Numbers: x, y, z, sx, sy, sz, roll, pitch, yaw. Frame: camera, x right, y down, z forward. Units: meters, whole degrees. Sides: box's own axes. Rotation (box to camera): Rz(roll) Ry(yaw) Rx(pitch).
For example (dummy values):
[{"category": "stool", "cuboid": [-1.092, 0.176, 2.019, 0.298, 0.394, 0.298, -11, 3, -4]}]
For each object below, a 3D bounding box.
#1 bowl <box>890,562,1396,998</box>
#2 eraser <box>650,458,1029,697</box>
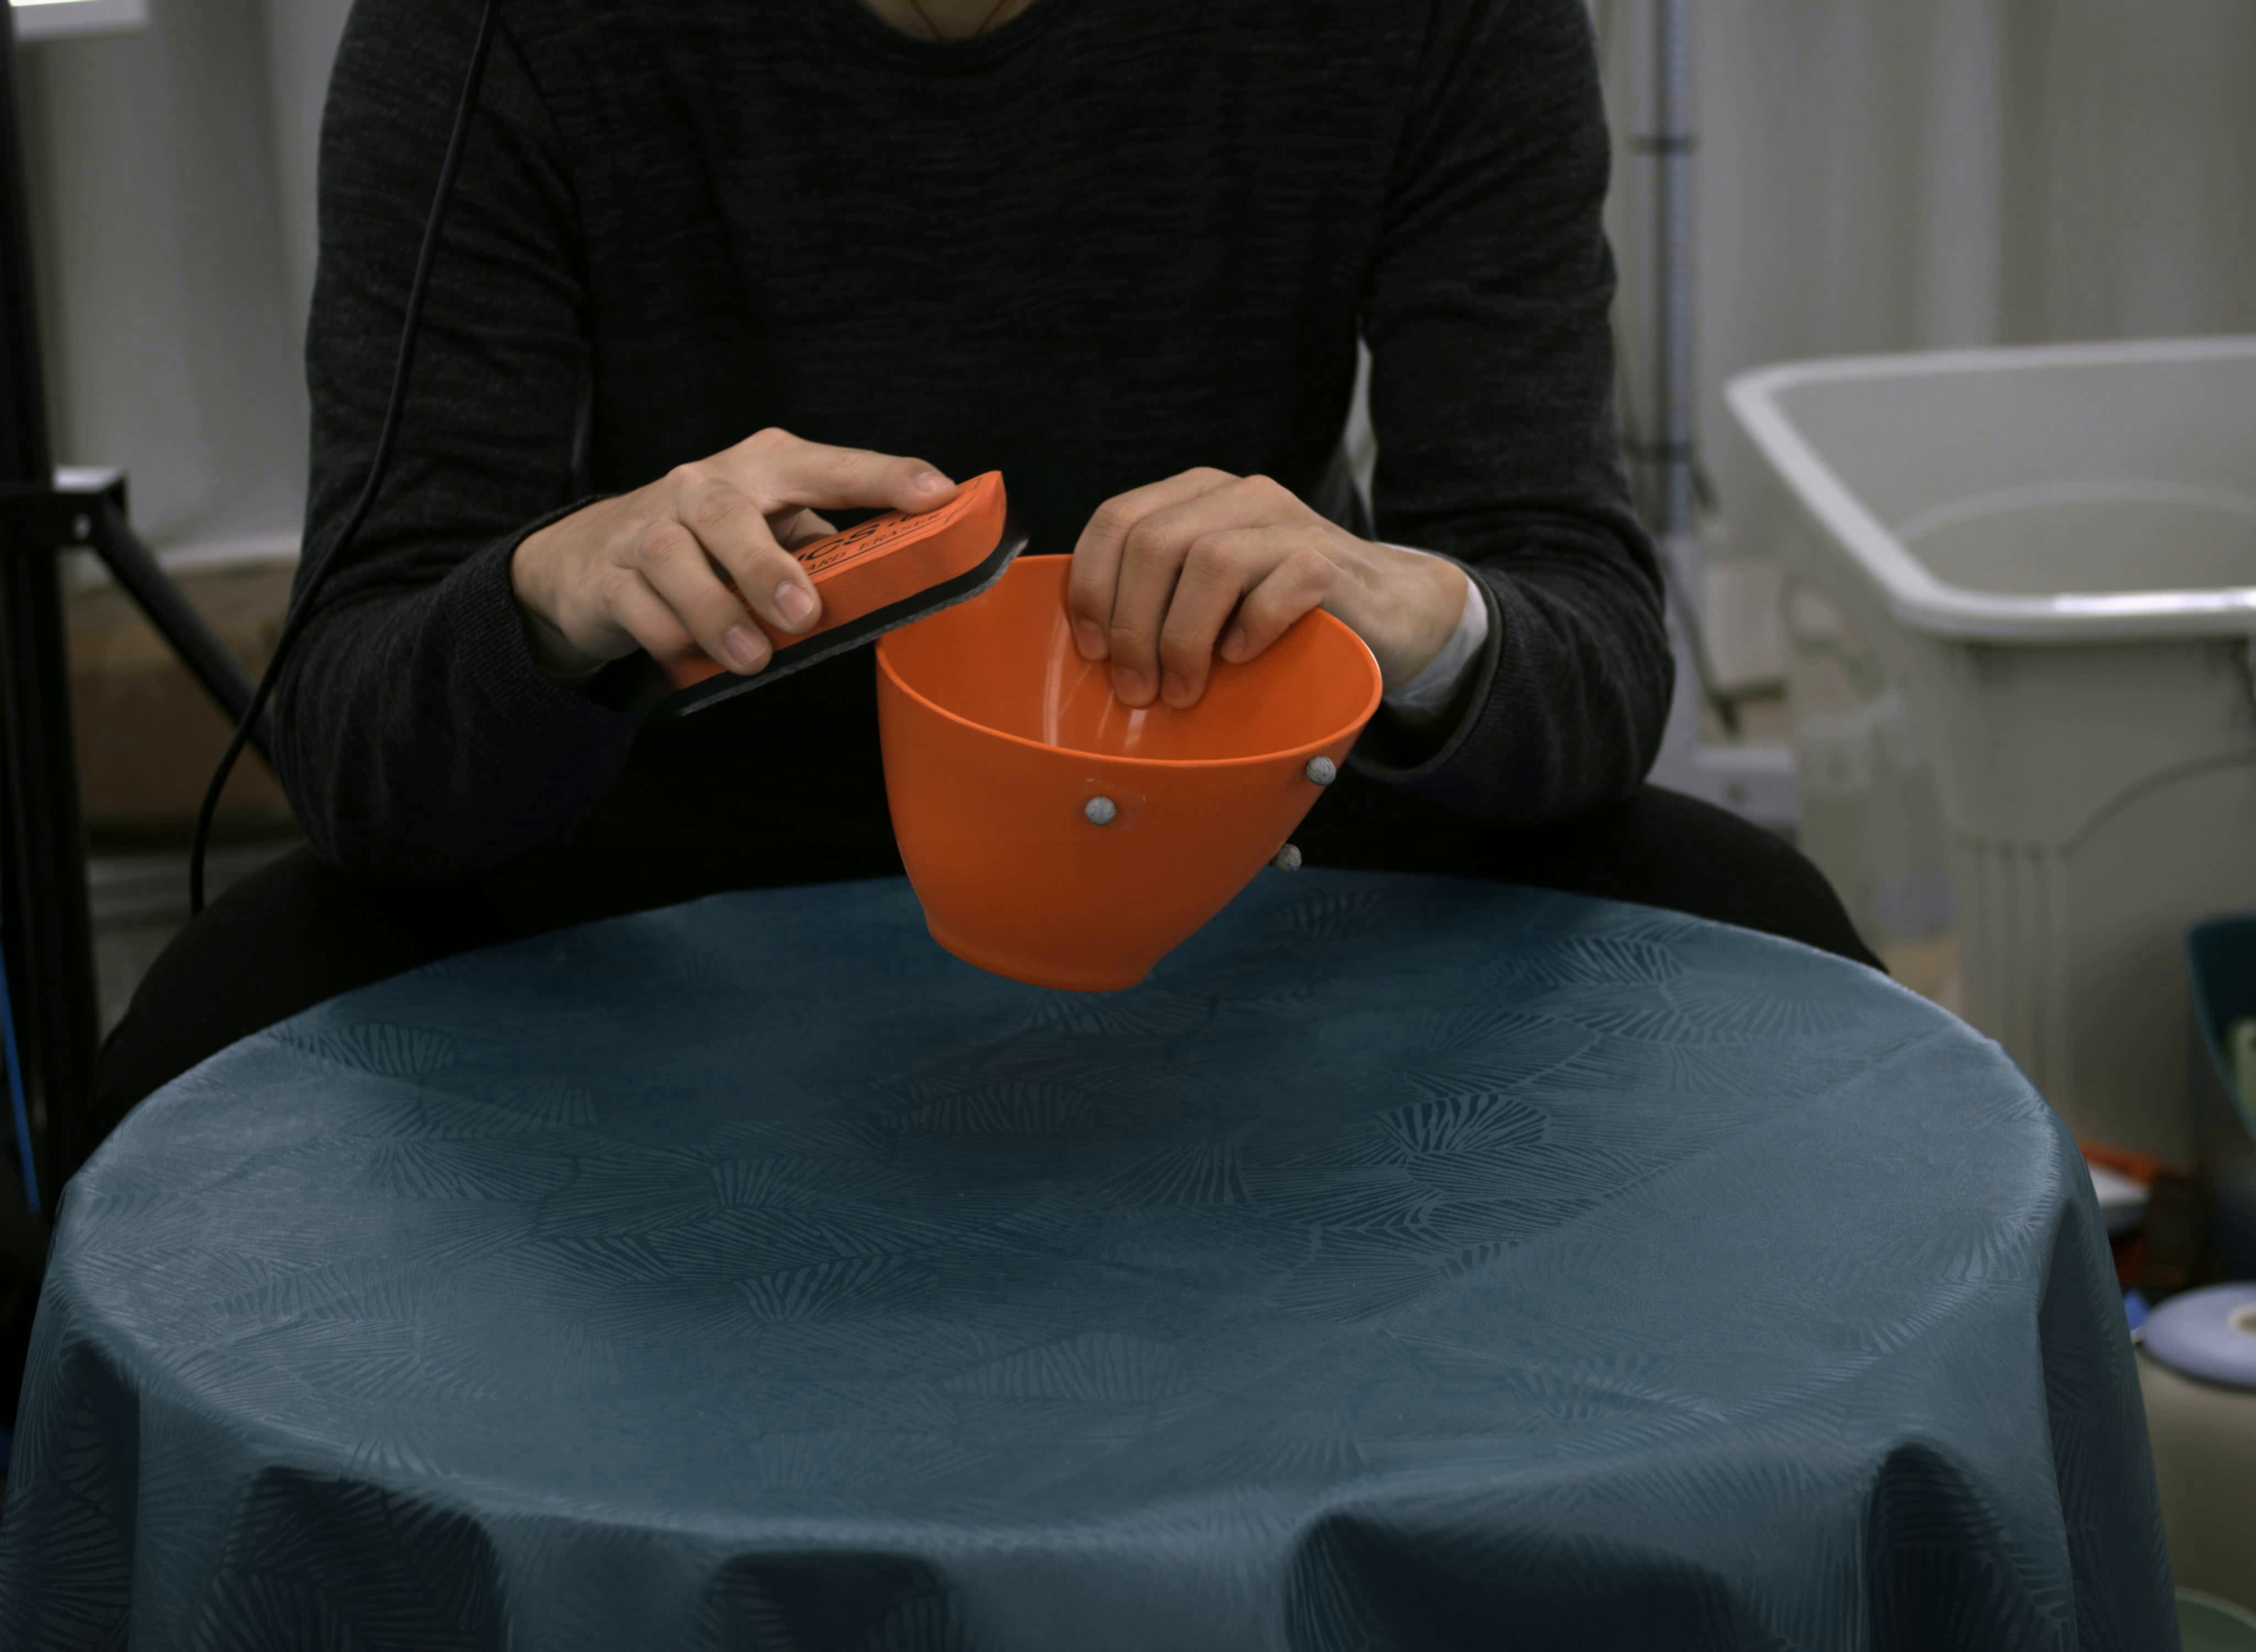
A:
[{"category": "bowl", "cuboid": [-0.005, -0.010, 1.554, 0.147, 0.105, 0.149, 13, 17, -5]}, {"category": "eraser", "cuboid": [-0.084, -0.073, 1.560, 0.109, 0.023, 0.059, -20, 17, 20]}]
